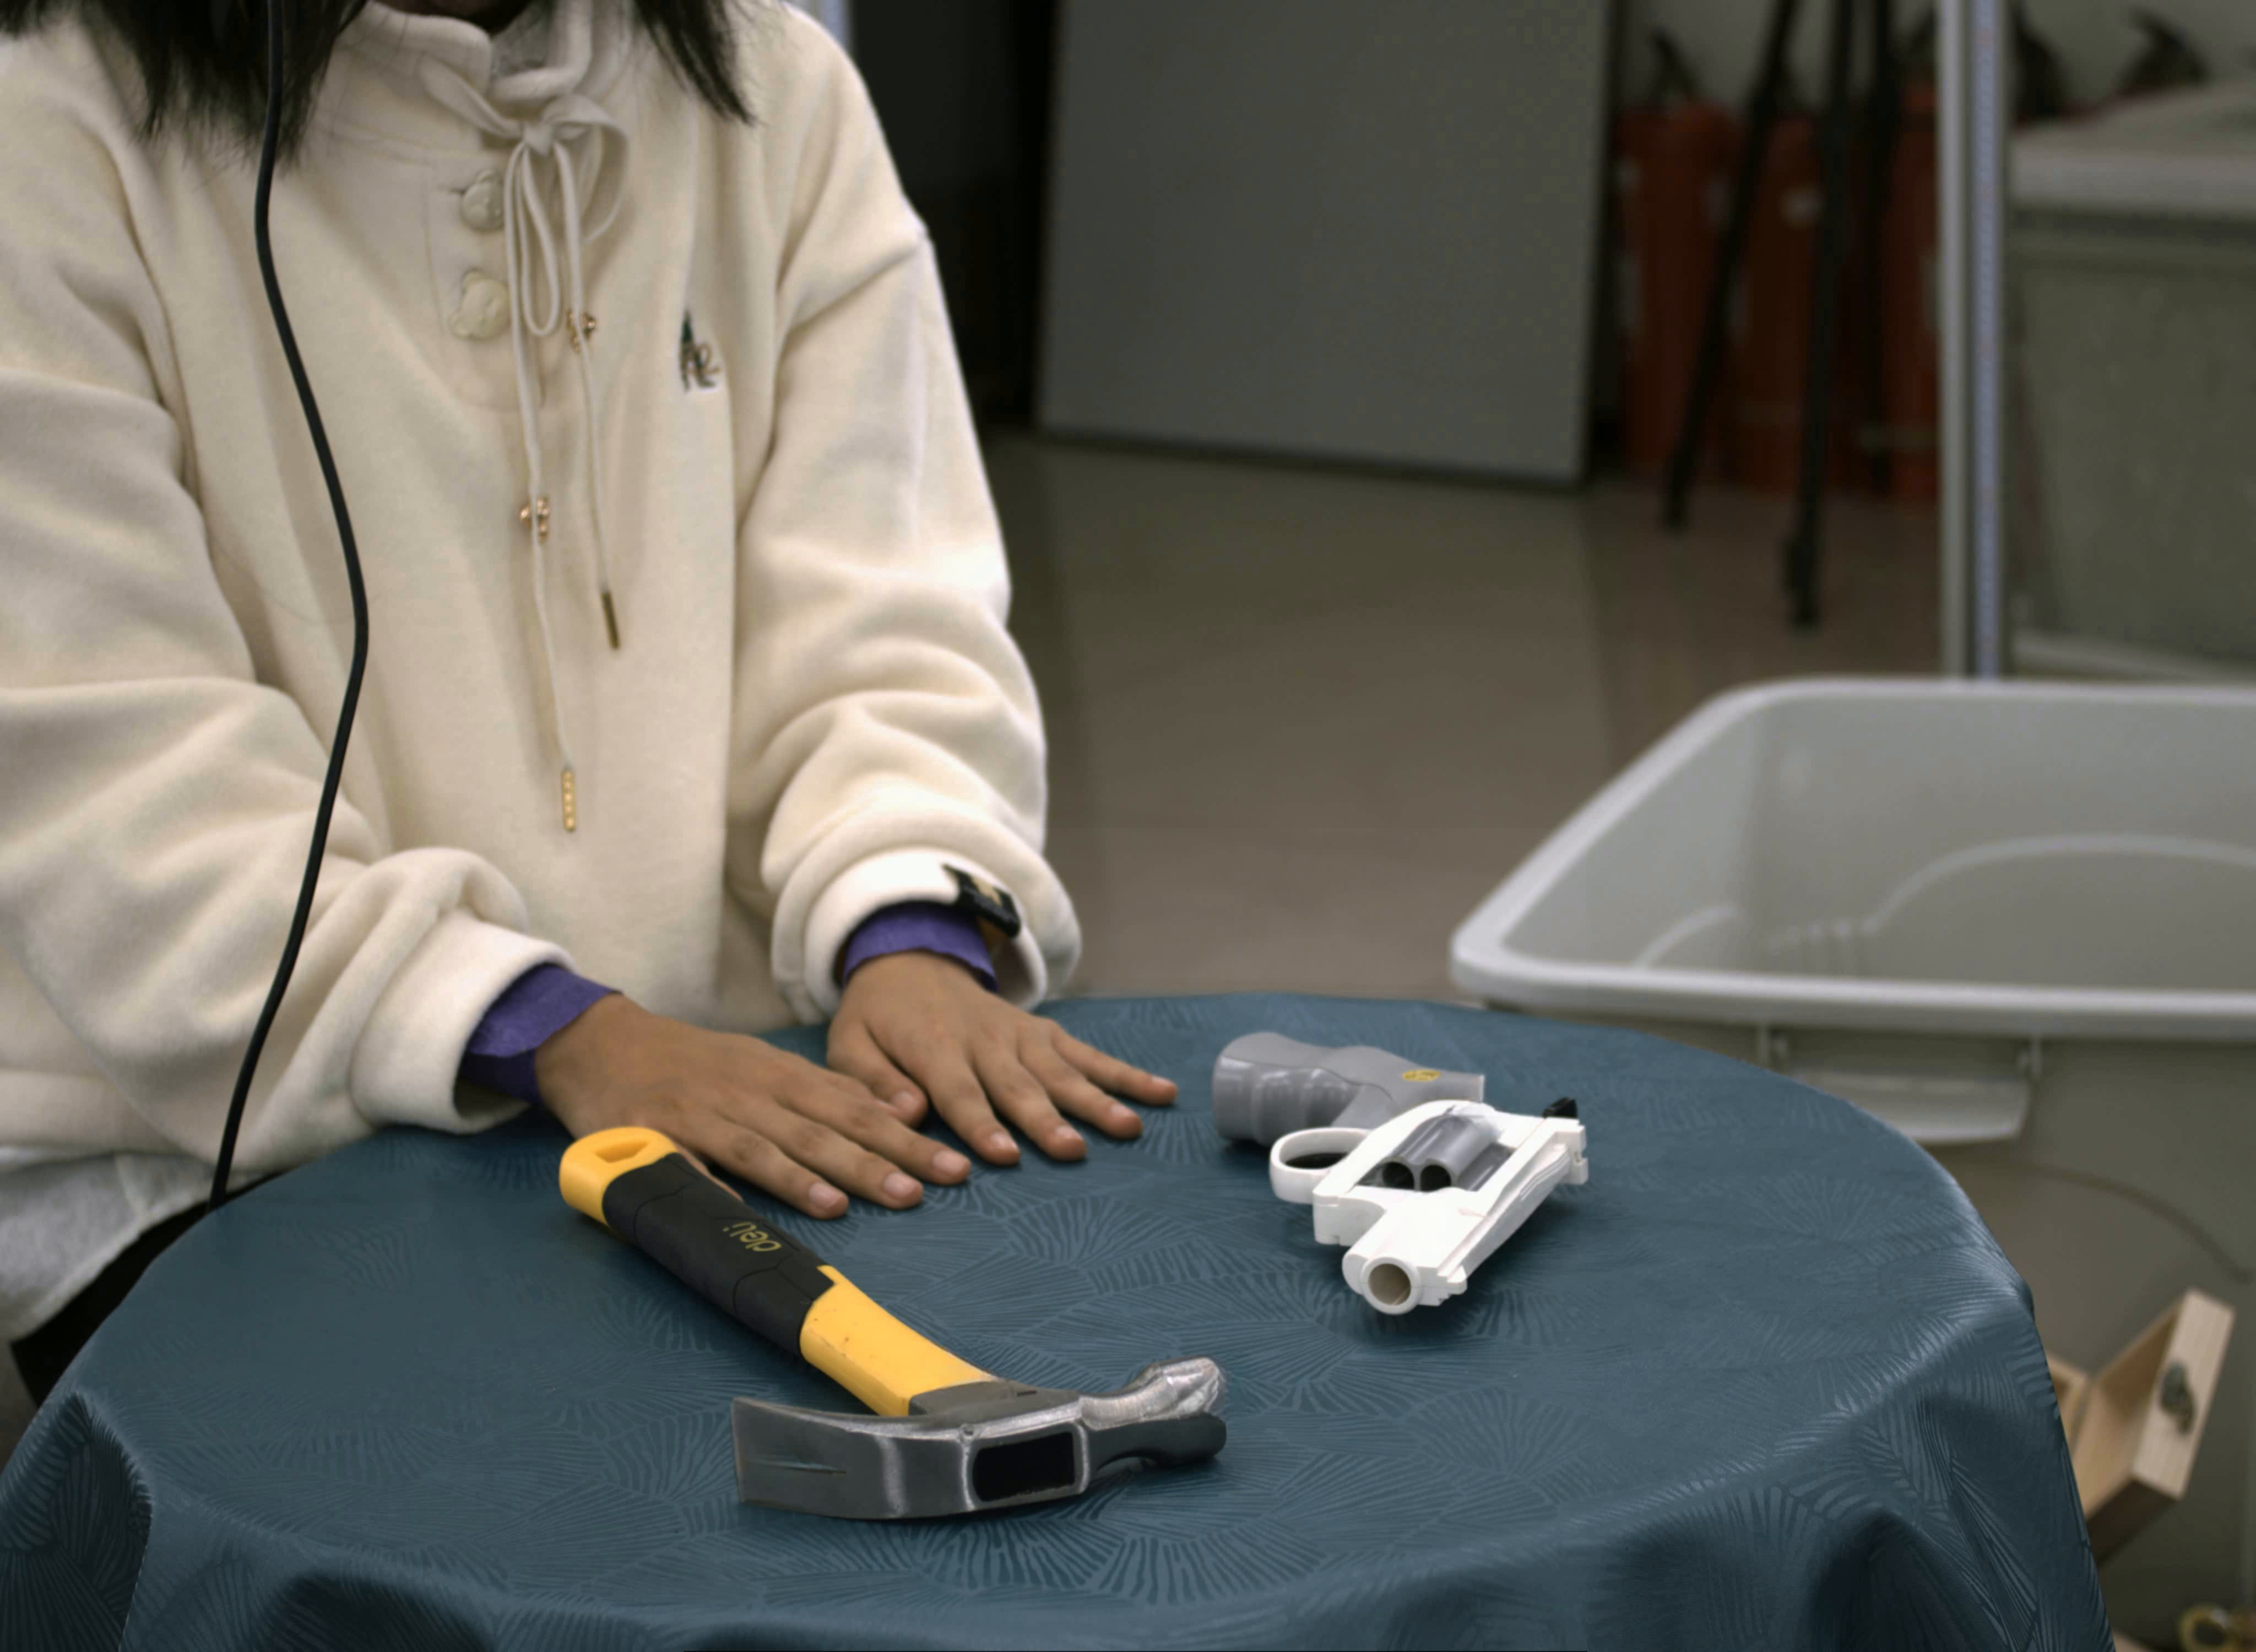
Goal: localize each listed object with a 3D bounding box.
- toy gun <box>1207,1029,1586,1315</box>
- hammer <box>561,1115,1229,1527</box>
[{"bbox_3d":[0.072,0.108,1.717,0.141,0.039,0.207,2,15,20],"label":"toy gun"},{"bbox_3d":[-0.099,0.142,1.639,0.128,0.032,0.342,-12,17,-22],"label":"hammer"}]
